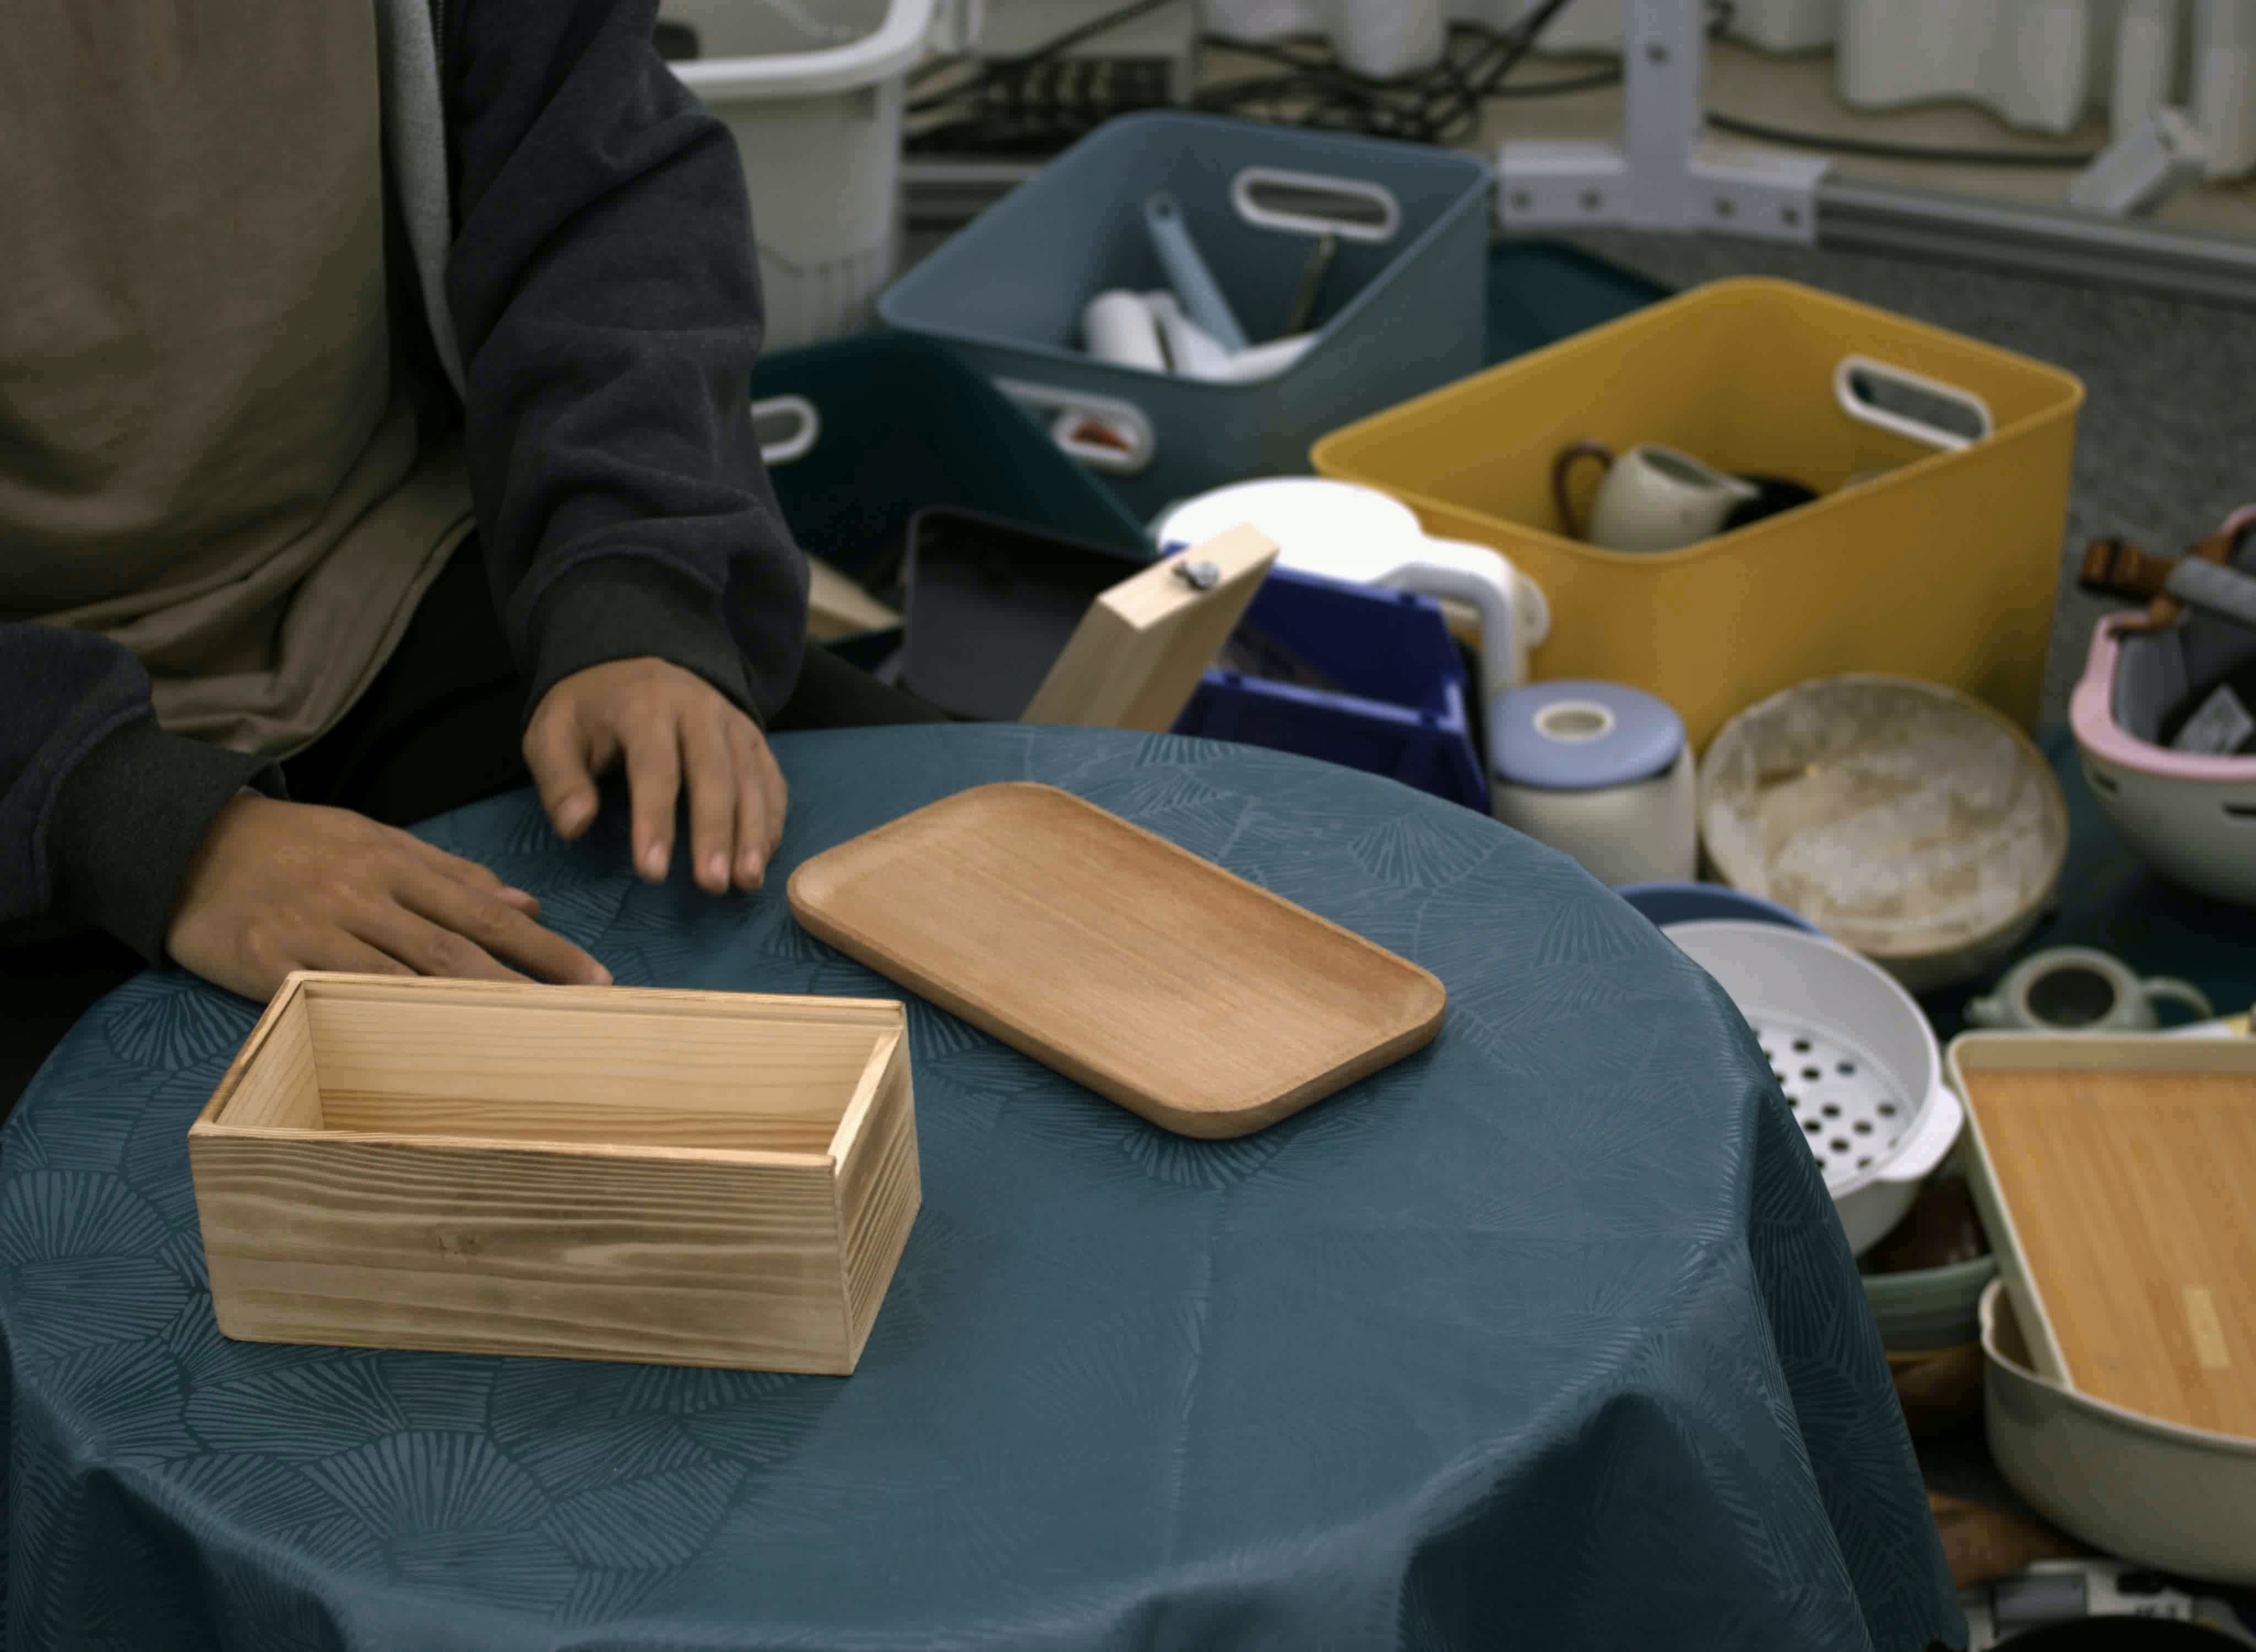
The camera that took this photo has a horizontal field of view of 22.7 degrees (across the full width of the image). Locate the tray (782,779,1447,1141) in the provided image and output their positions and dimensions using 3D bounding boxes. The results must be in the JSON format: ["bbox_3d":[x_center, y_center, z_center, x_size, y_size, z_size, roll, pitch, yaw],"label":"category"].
[{"bbox_3d":[-0.007,0.045,1.991,0.132,0.022,0.250,-21,32,-35],"label":"tray"}]

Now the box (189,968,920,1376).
[{"bbox_3d":[-0.183,0.111,1.816,0.210,0.079,0.109,2,27,10],"label":"box"}]
